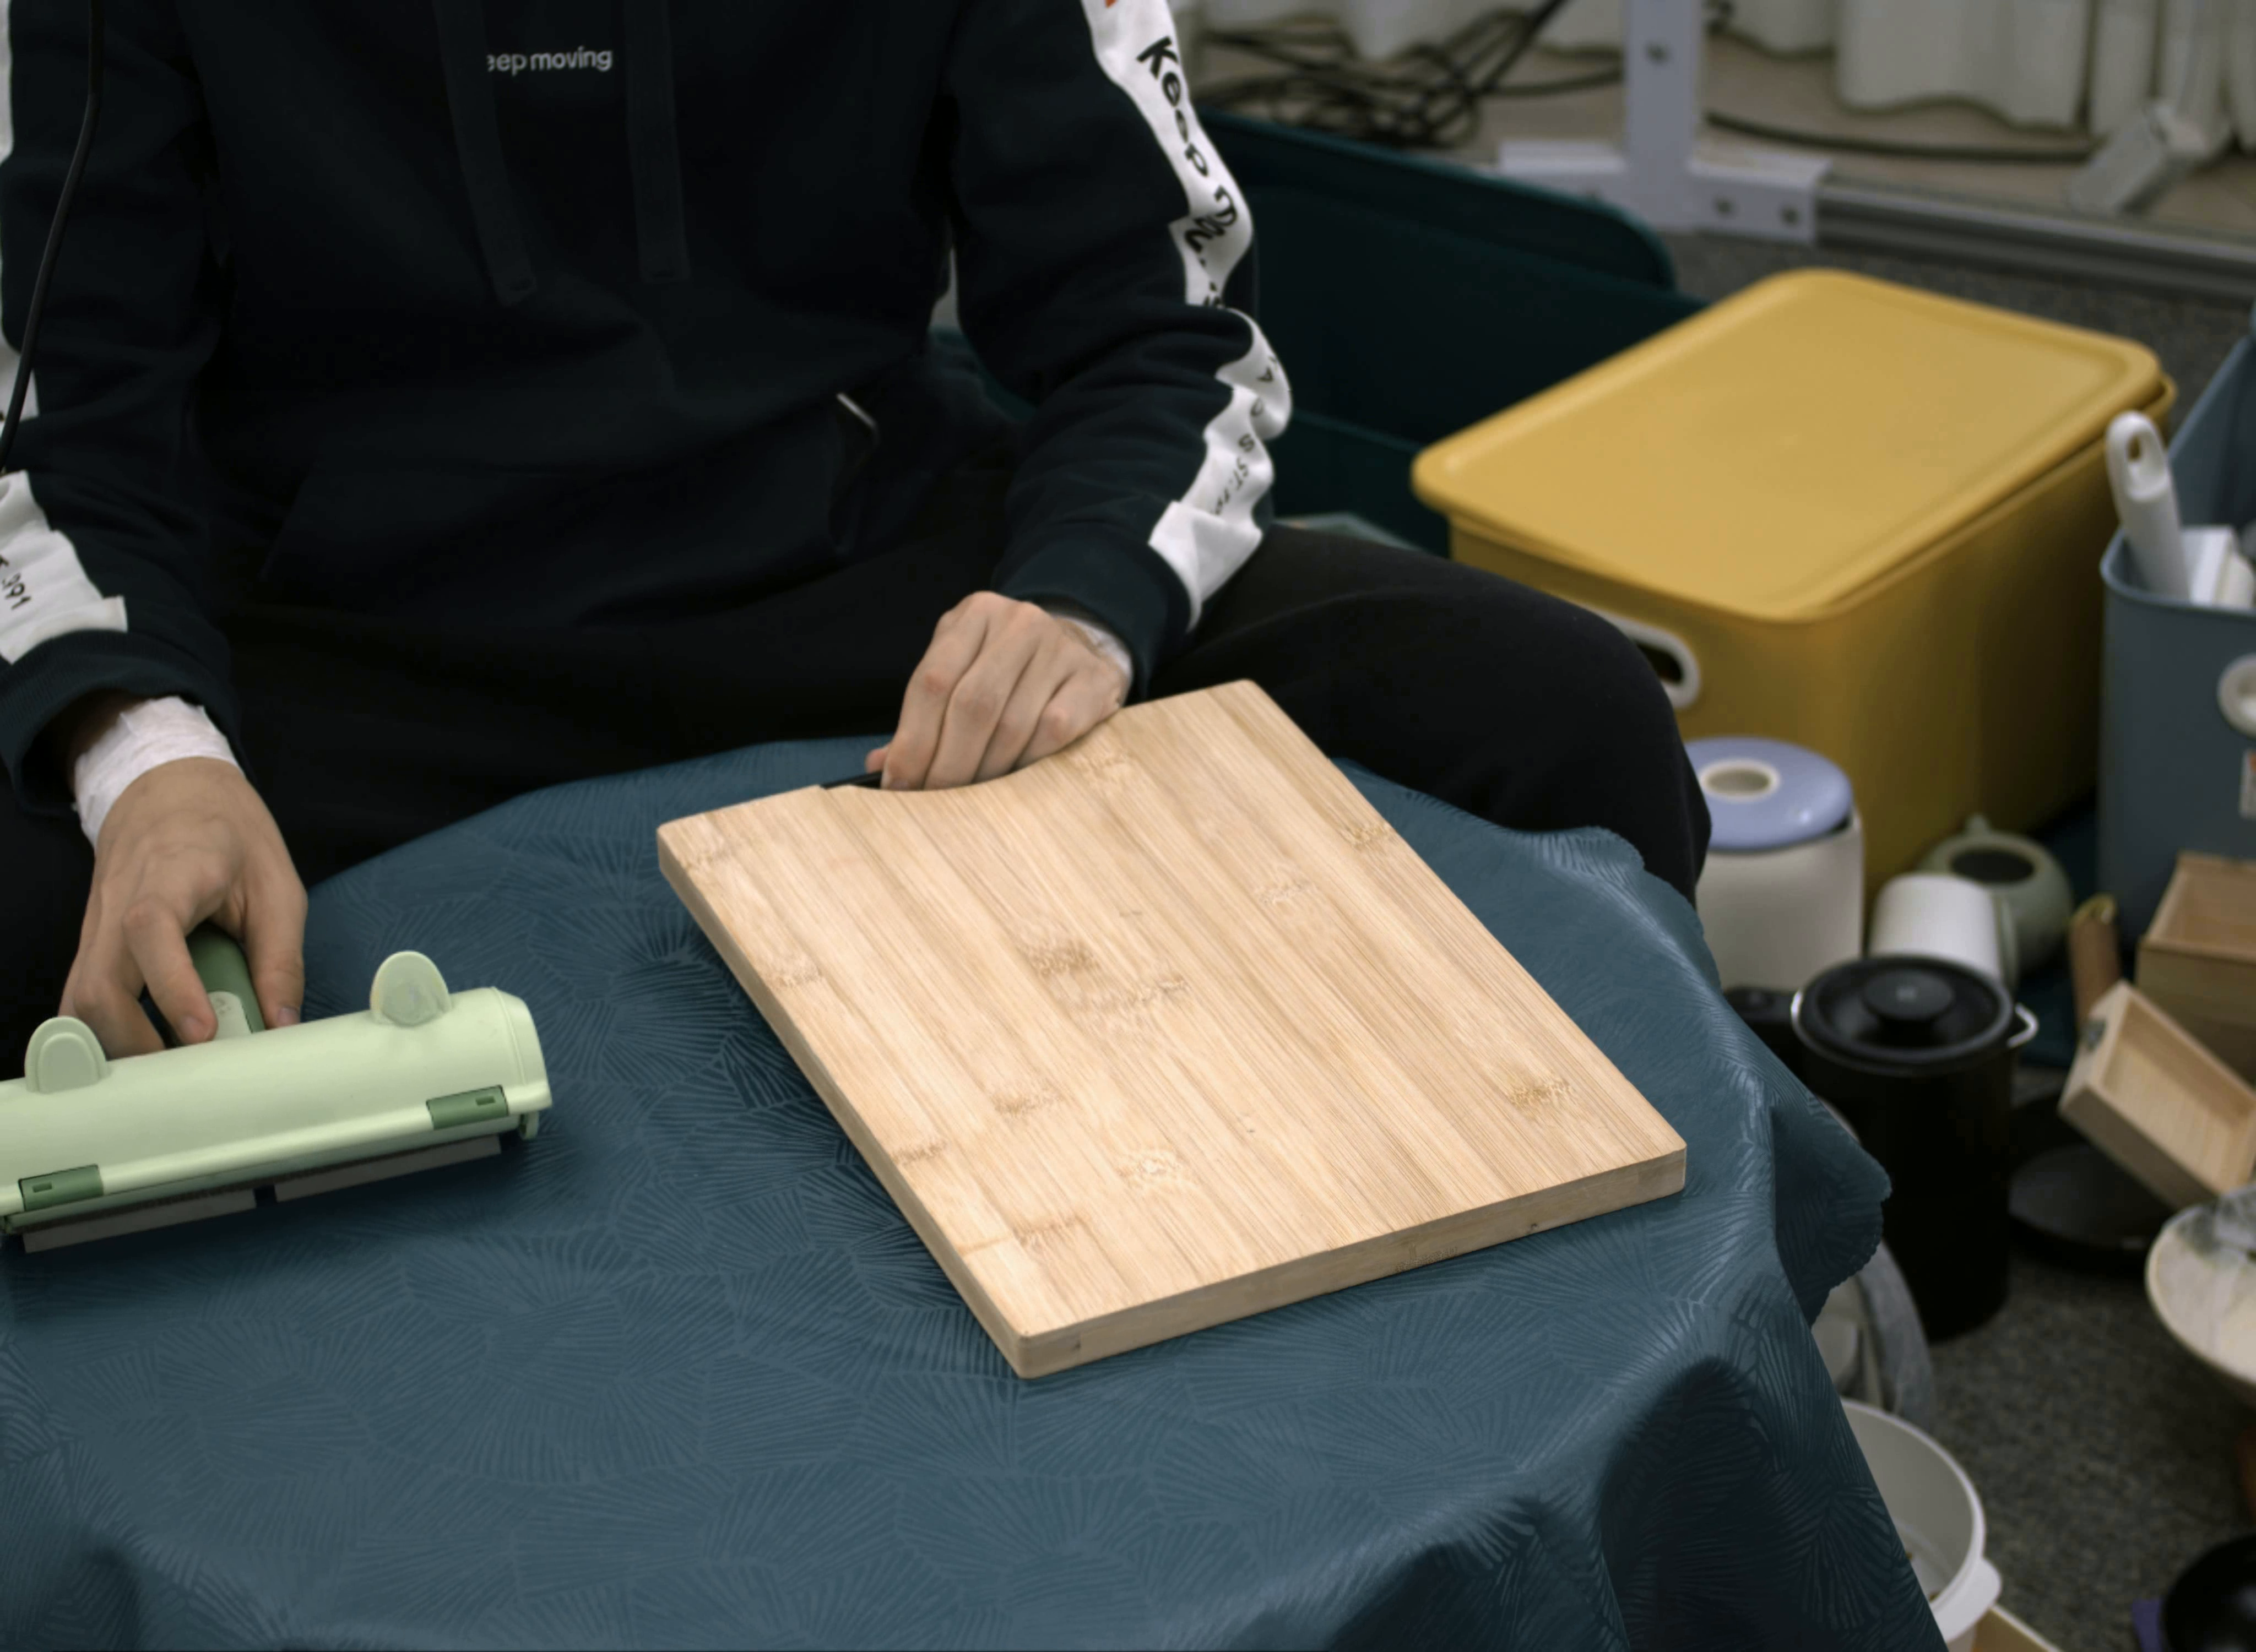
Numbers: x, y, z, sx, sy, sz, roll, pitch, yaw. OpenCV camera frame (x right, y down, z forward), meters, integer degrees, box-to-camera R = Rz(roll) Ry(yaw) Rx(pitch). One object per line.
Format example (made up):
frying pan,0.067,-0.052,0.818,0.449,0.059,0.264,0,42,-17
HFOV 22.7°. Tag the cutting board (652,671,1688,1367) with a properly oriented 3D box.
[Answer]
cutting board,0.006,0.059,1.937,0.252,0.023,0.351,-14,34,-21

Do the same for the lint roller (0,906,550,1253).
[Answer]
lint roller,-0.310,0.061,1.911,0.199,0.081,0.185,-11,37,-15
